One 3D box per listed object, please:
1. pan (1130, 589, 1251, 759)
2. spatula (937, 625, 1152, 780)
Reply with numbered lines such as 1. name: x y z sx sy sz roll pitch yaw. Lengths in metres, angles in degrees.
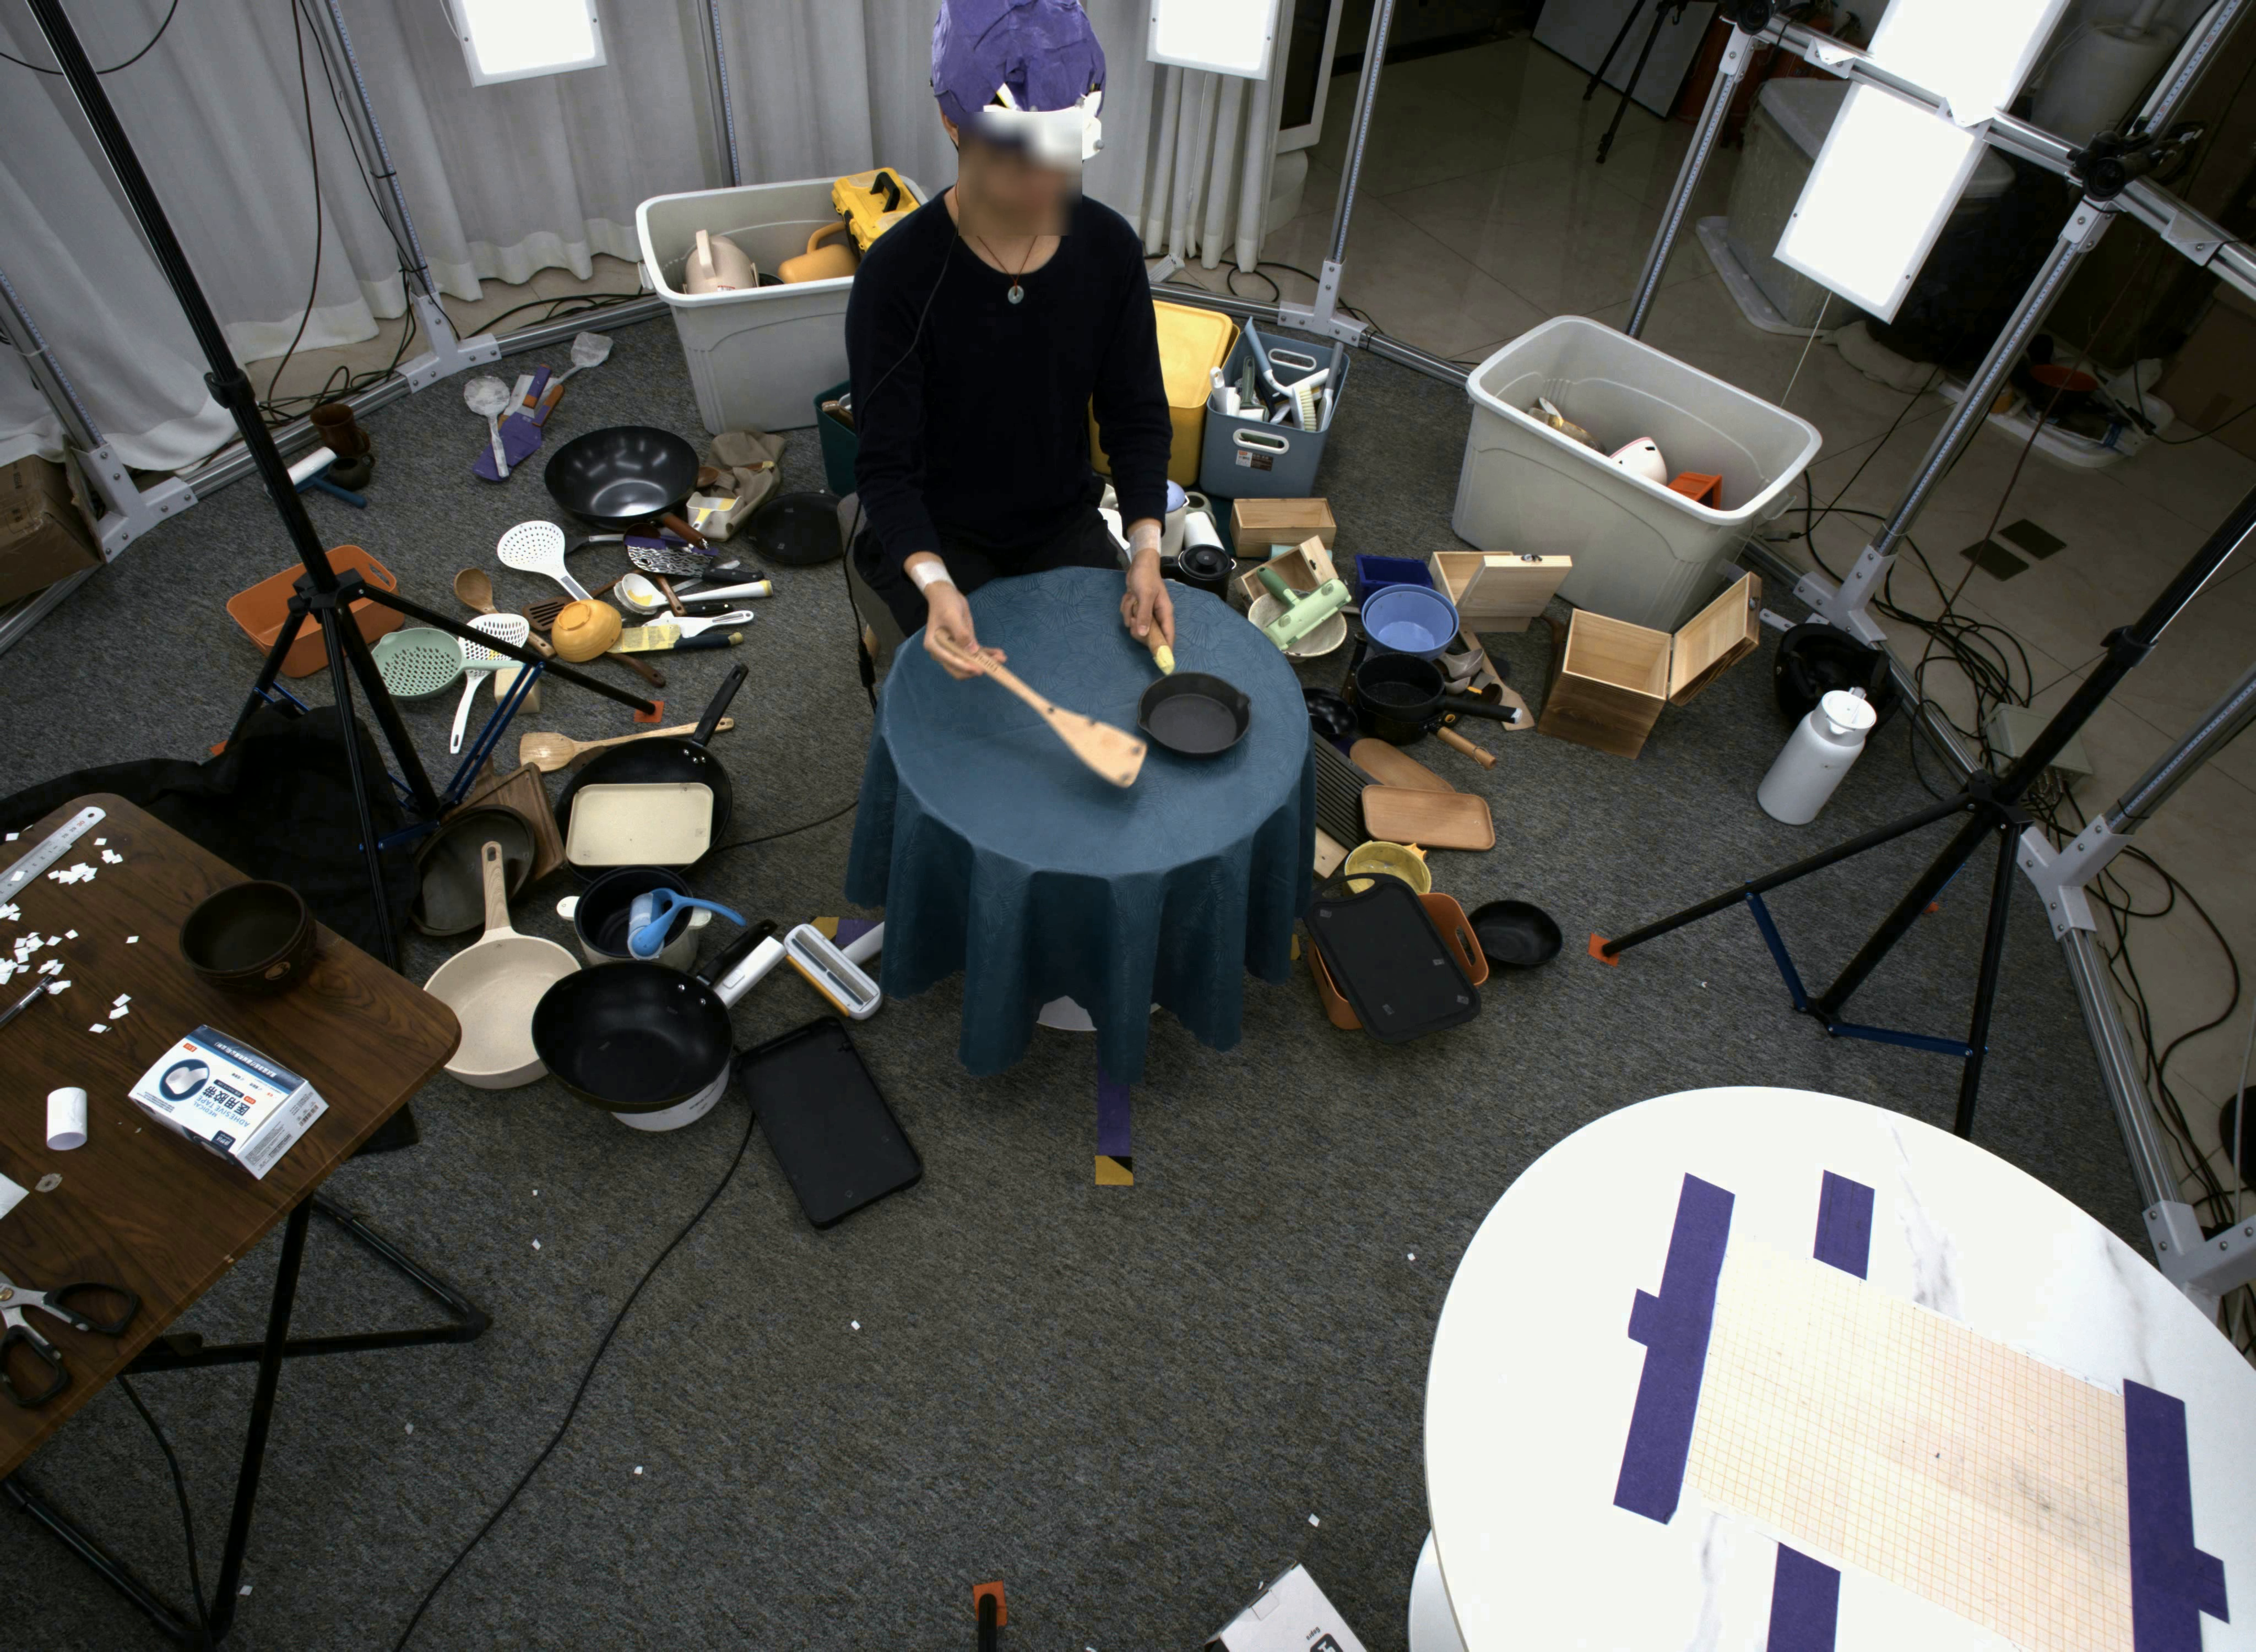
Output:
1. pan: 0.064 -0.219 1.830 0.169 0.048 0.332 -12 52 -14
2. spatula: -0.109 -0.170 1.679 0.327 0.016 0.081 34 51 0
